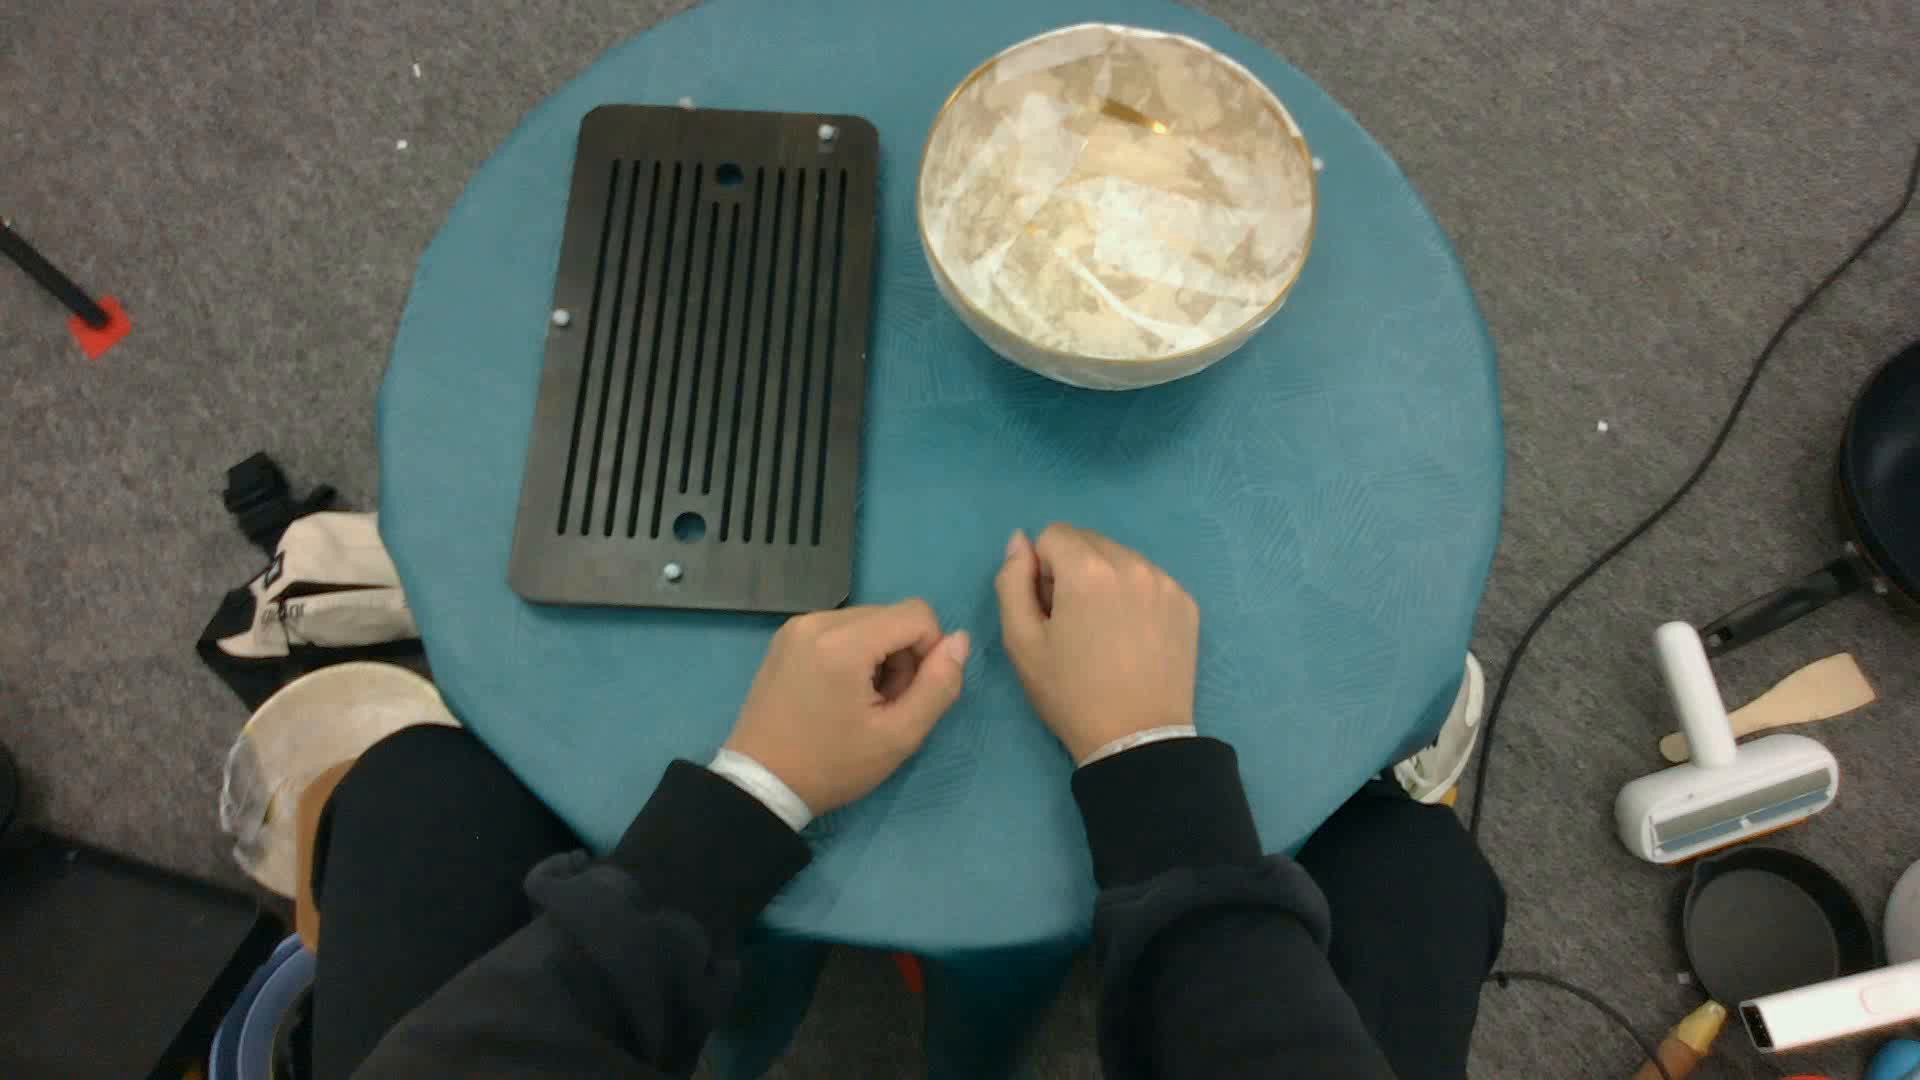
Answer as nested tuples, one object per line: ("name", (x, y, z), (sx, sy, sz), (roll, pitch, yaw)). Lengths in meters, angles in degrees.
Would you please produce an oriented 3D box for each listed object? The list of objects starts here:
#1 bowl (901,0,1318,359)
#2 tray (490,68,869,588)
("bowl", (0.071, -0.173, 0.721), (0.215, 0.094, 0.215), (1, 69, -3))
("tray", (-0.142, -0.121, 0.735), (0.170, 0.018, 0.307), (3, 69, 0))
